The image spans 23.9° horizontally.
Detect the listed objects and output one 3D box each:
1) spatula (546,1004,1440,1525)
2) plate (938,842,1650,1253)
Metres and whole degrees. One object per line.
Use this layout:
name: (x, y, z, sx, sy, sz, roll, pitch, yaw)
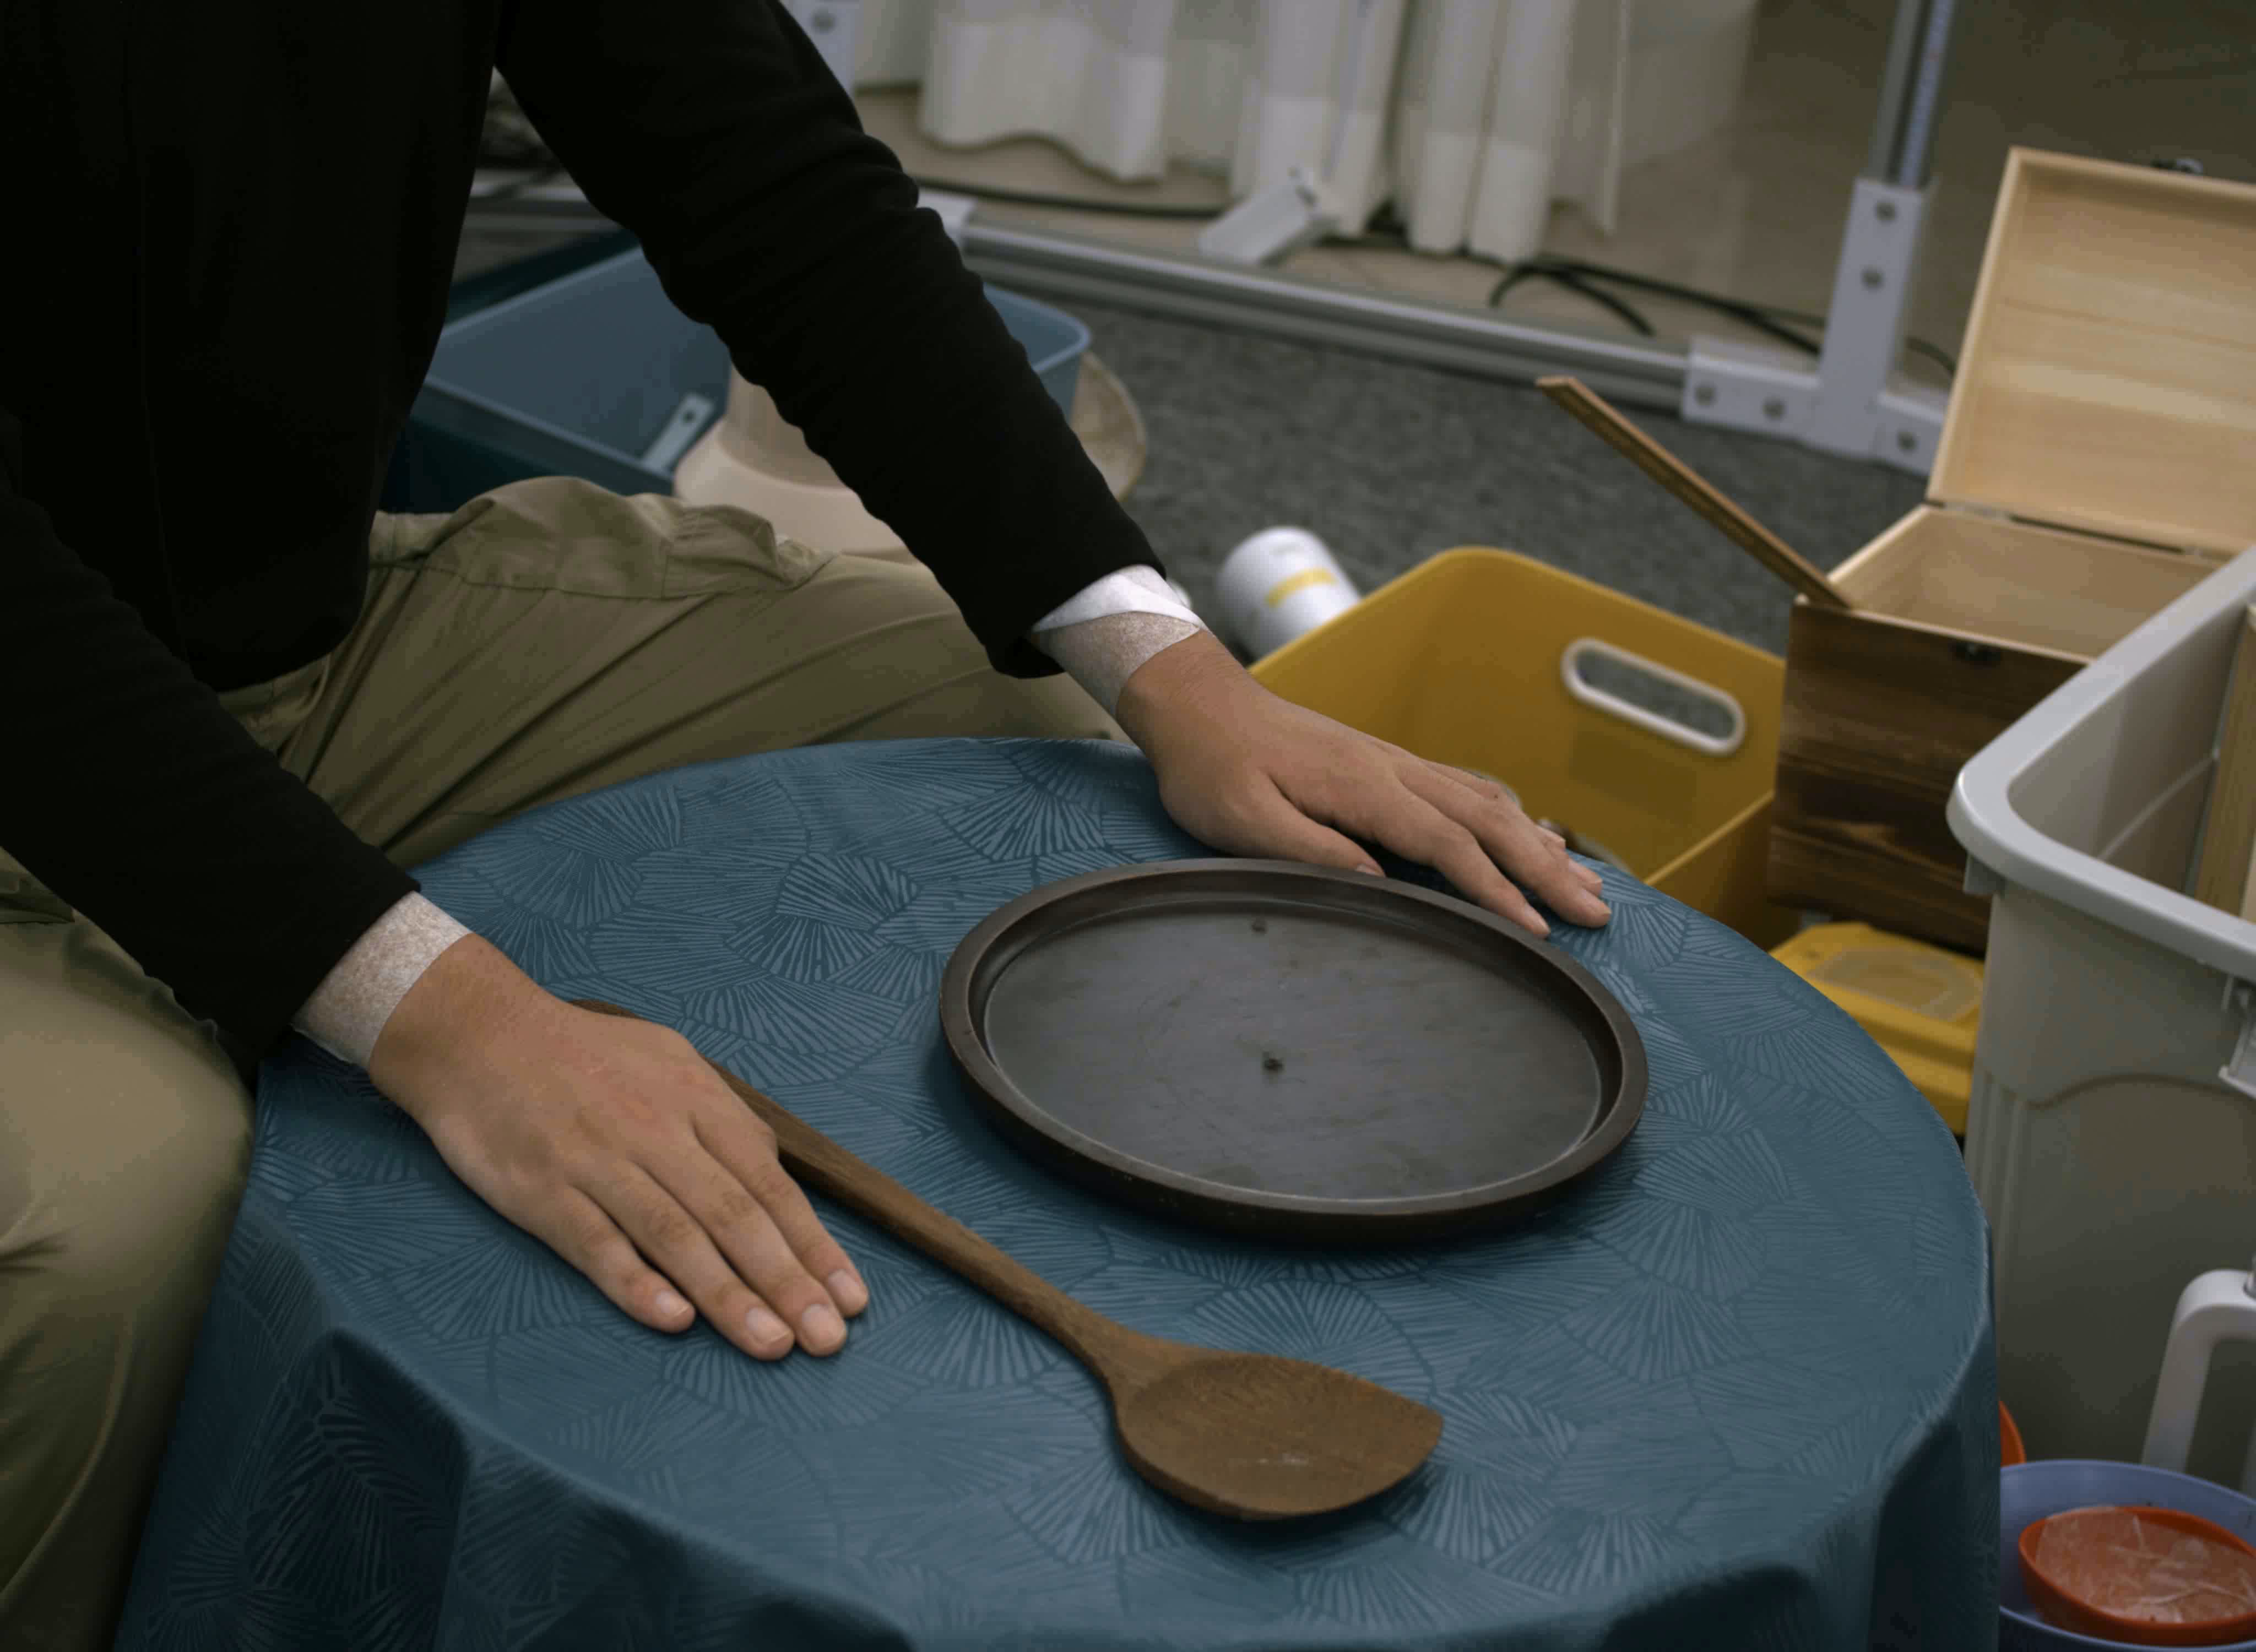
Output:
spatula: (-0.062, 0.135, 1.749, 0.389, 0.016, 0.095, 28, 33, 36)
plate: (0.058, 0.079, 1.876, 0.254, 0.029, 0.256, 4, 28, -2)
